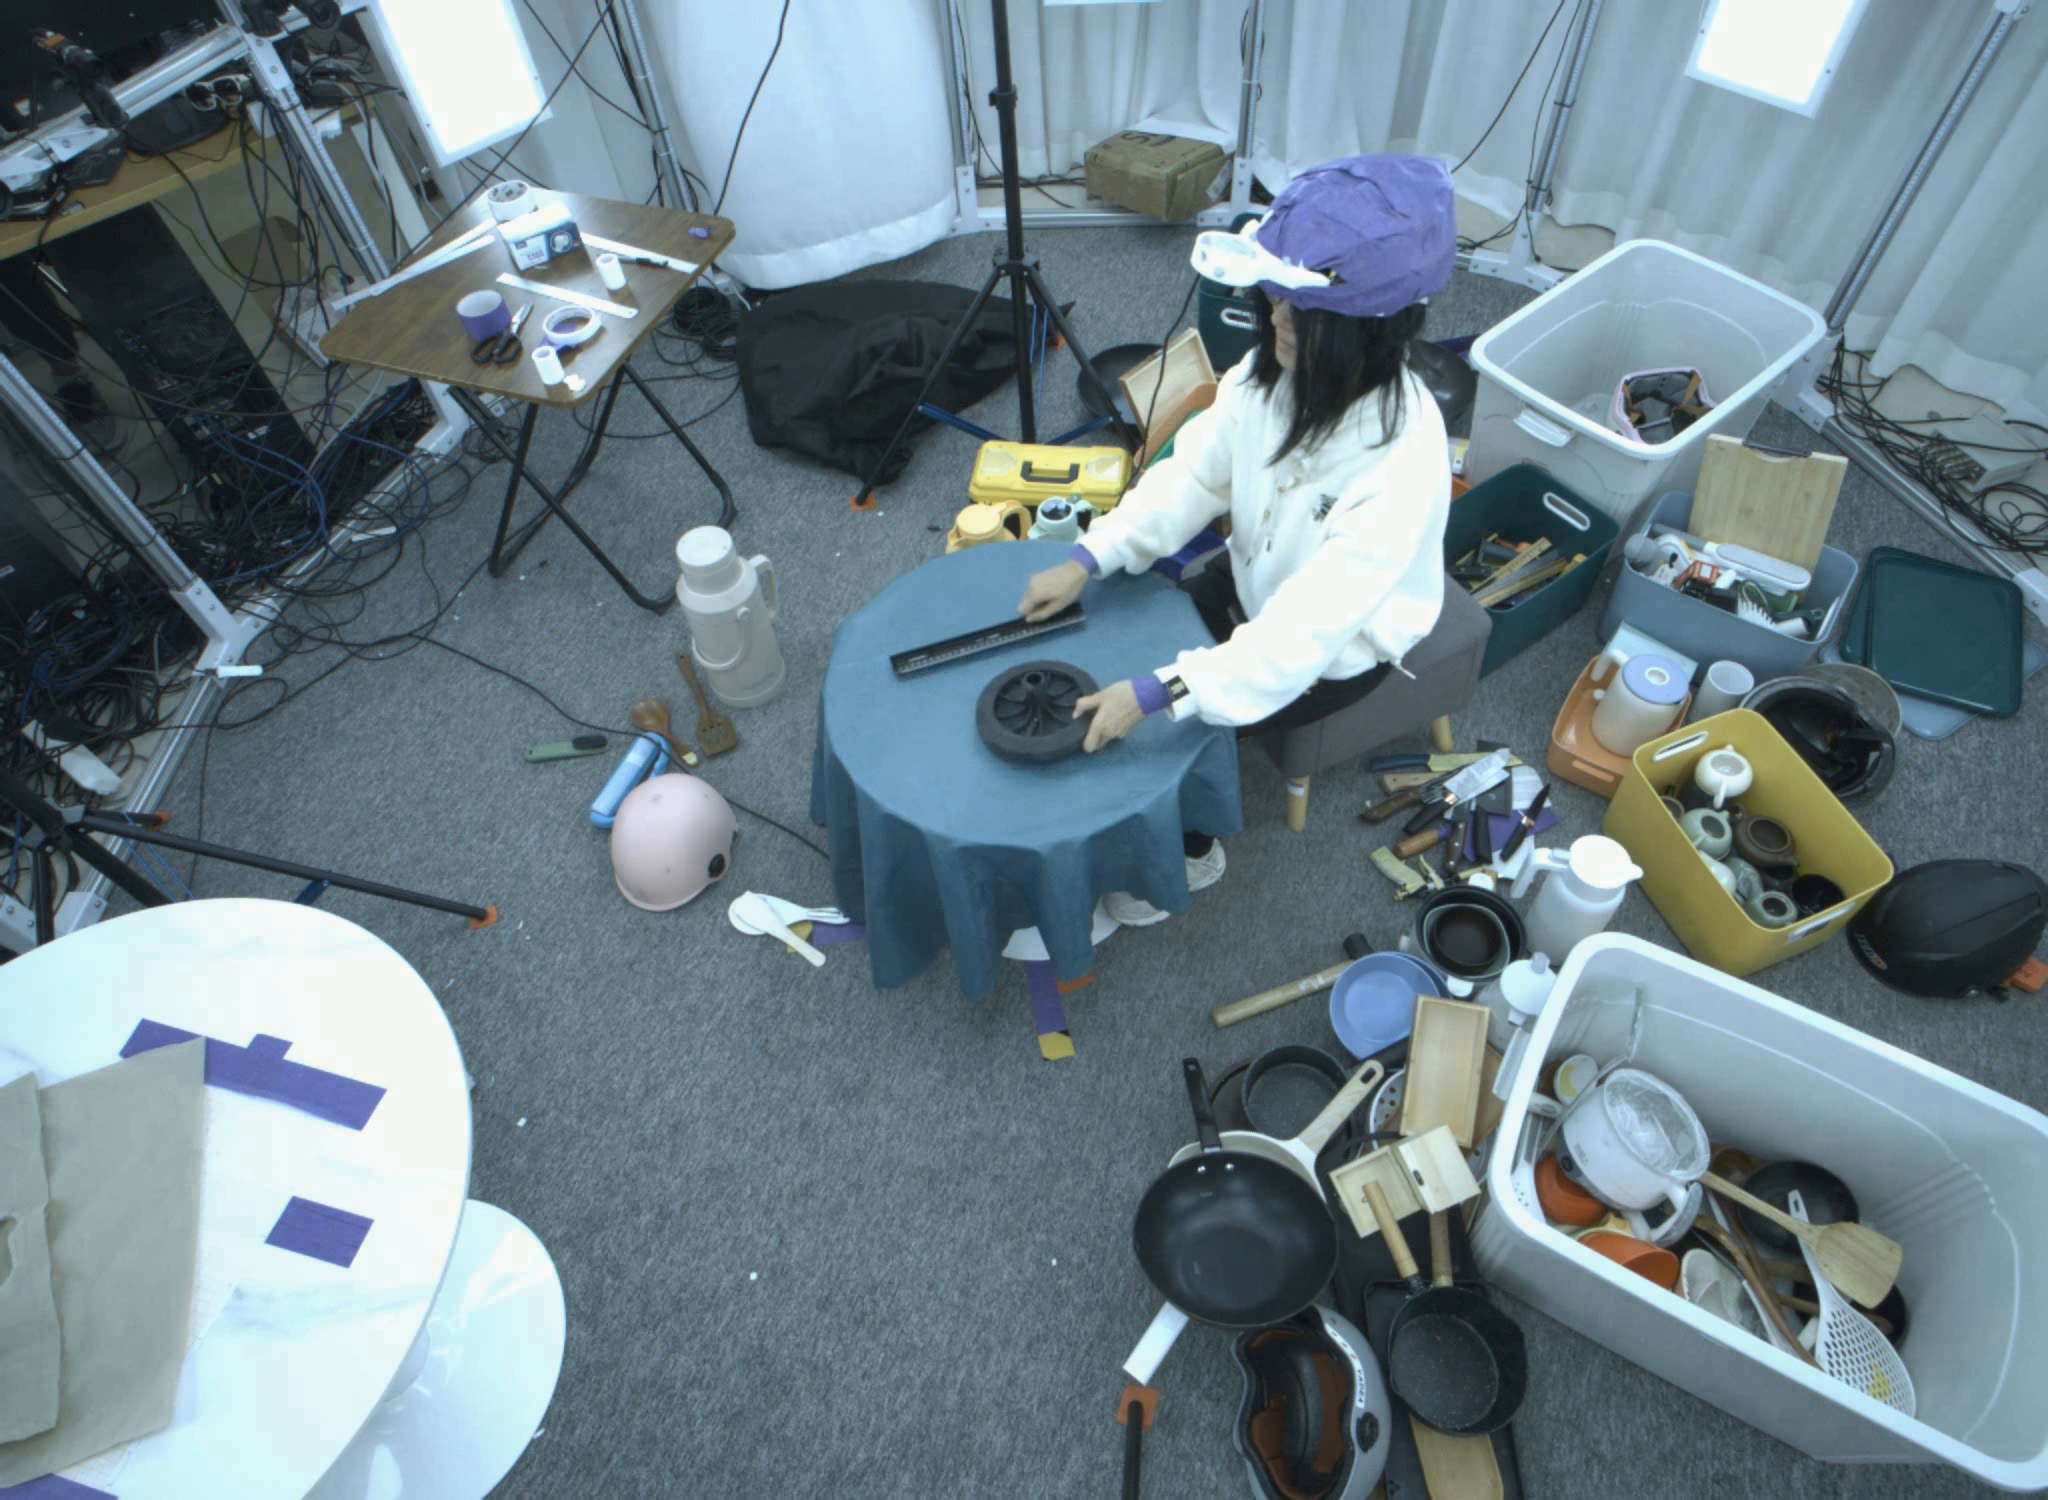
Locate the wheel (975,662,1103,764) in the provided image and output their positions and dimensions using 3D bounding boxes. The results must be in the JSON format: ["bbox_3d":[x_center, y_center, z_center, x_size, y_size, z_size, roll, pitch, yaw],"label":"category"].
[{"bbox_3d":[0.019,-0.072,1.785,0.187,0.080,0.187,-10,49,-1],"label":"wheel"}]

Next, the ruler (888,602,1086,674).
[{"bbox_3d":[-0.058,-0.174,1.892,0.314,0.017,0.038,-16,49,-8],"label":"ruler"}]
